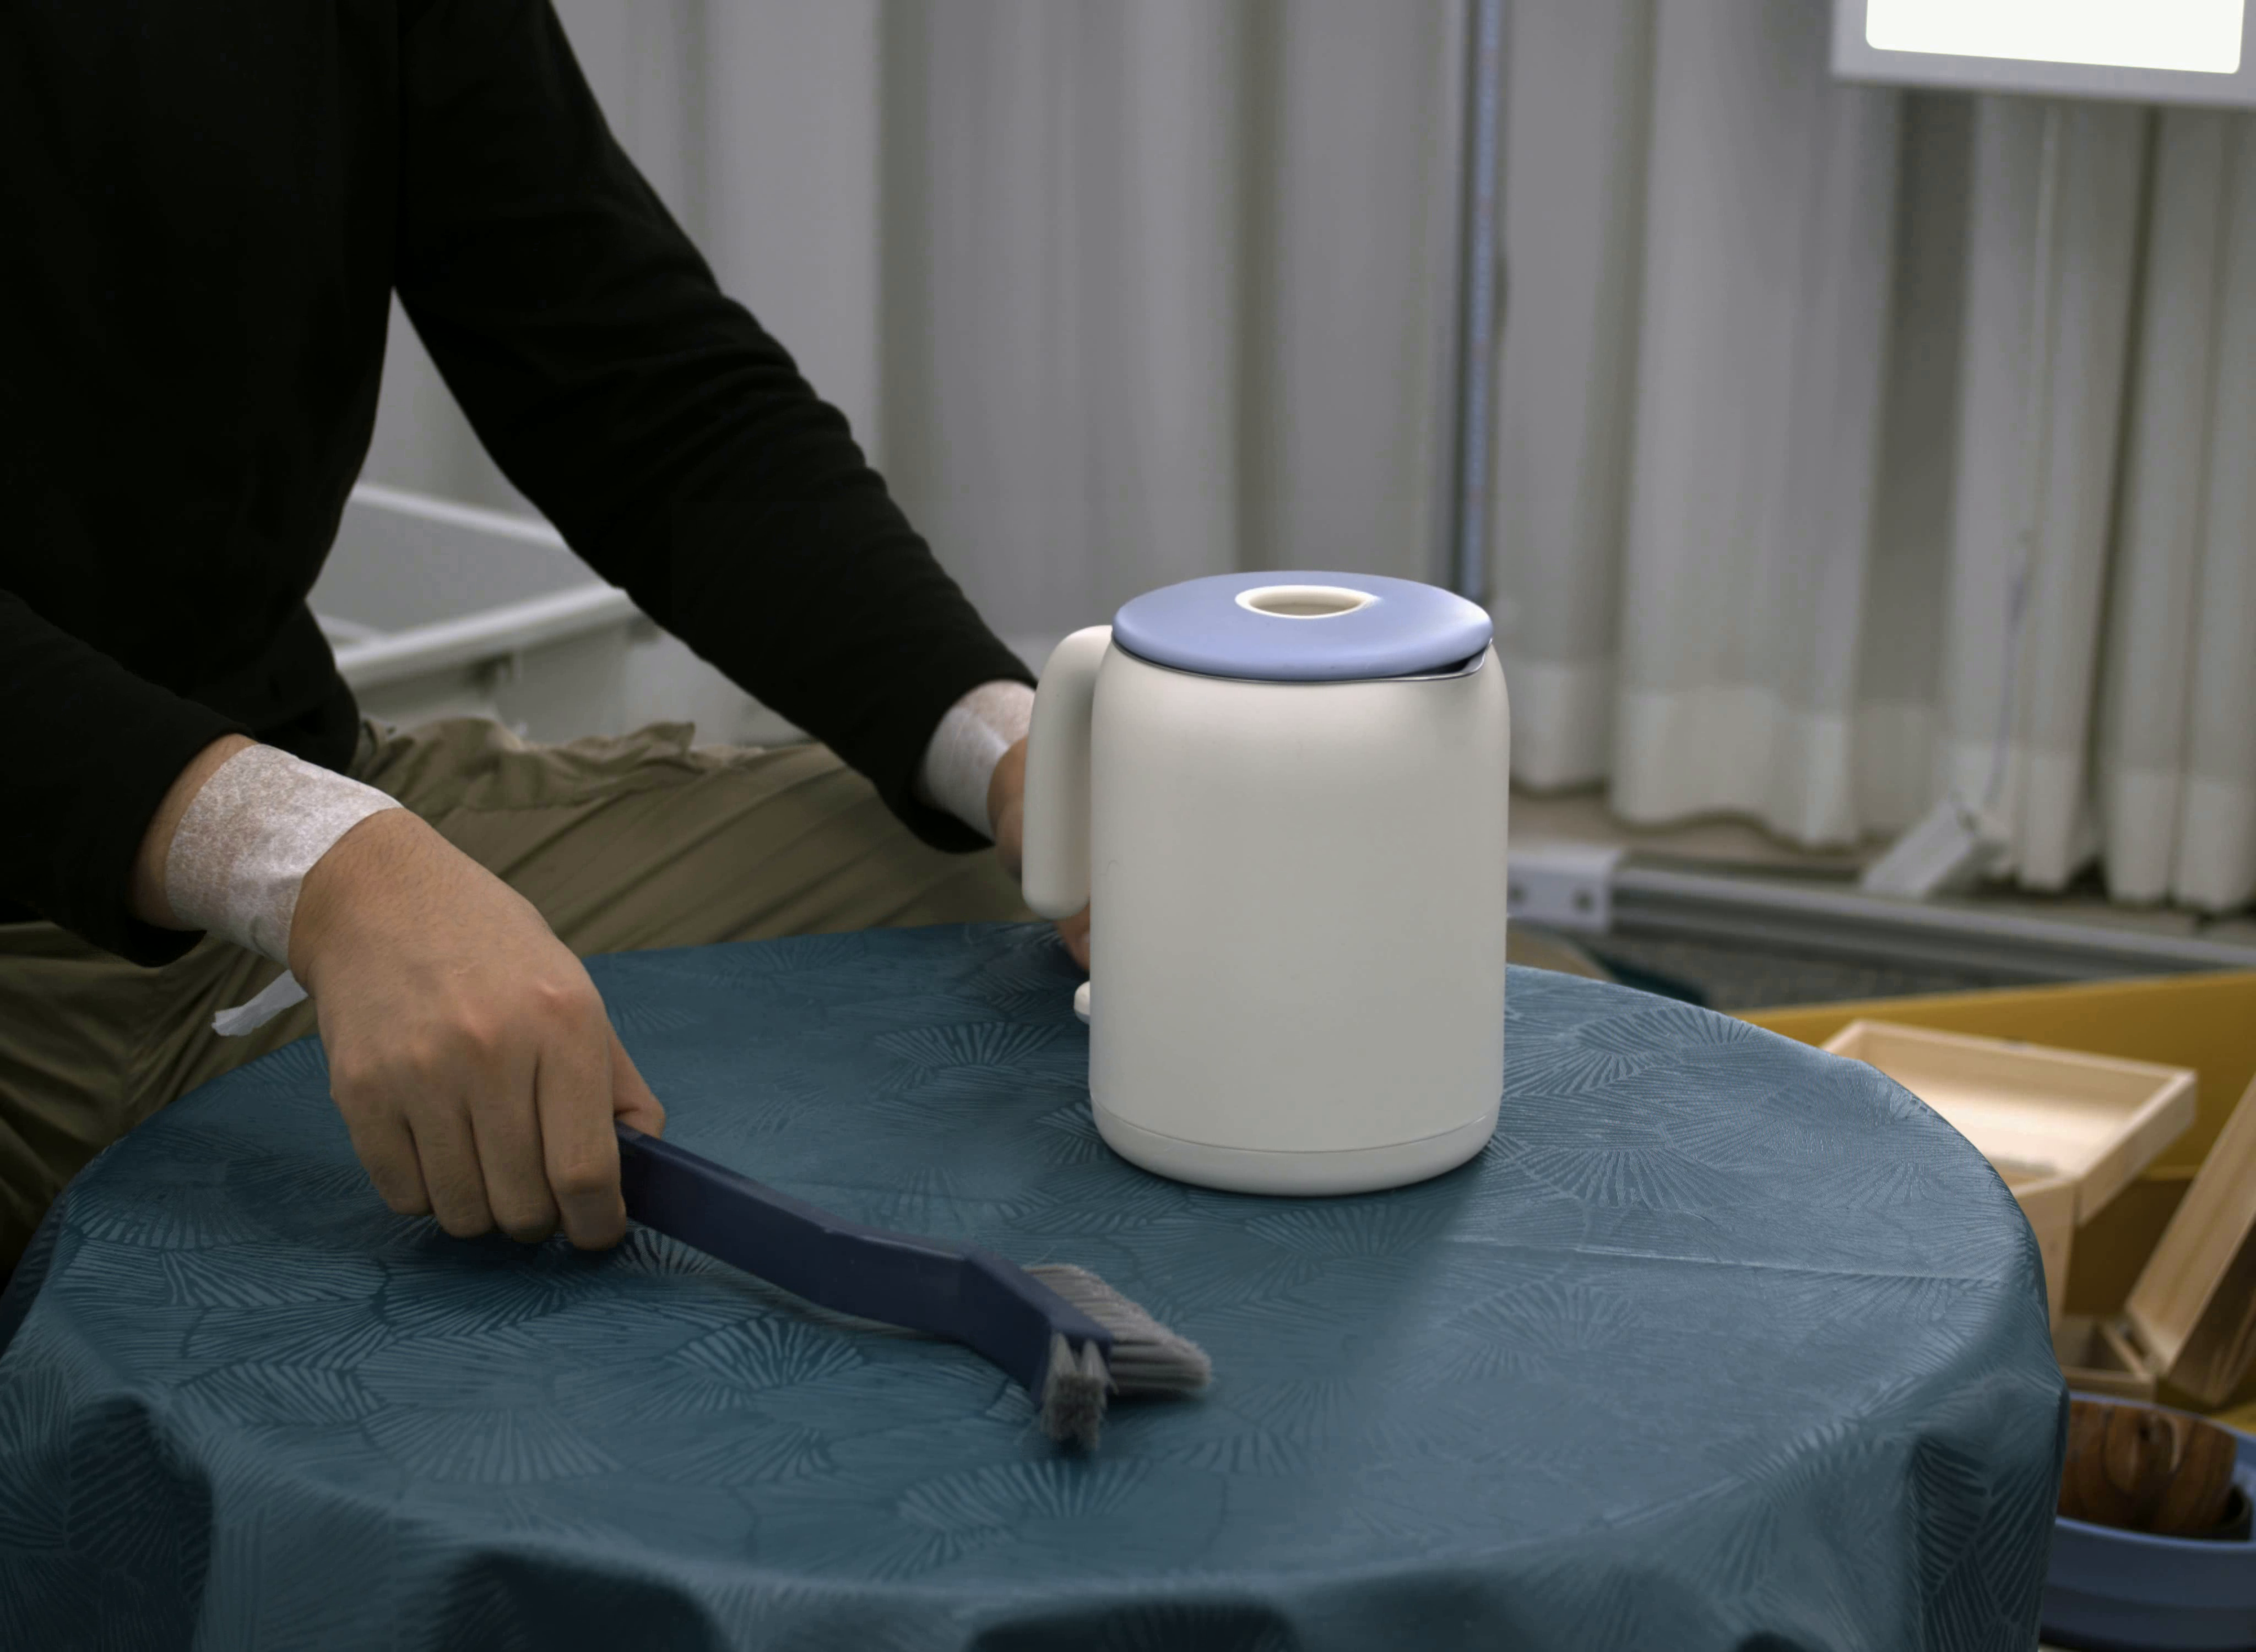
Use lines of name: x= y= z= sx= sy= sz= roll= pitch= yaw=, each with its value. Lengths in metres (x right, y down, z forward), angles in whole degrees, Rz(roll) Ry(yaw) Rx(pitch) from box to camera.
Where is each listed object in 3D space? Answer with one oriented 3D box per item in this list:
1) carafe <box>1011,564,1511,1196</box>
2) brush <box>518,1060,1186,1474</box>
carafe: x=0.036 y=0.011 z=1.664 sx=0.188 sy=0.184 sz=0.133 roll=13 pitch=20 yaw=41
brush: x=-0.098 y=0.122 z=1.511 sx=0.269 sy=0.034 sz=0.096 roll=16 pitch=21 yaw=35
